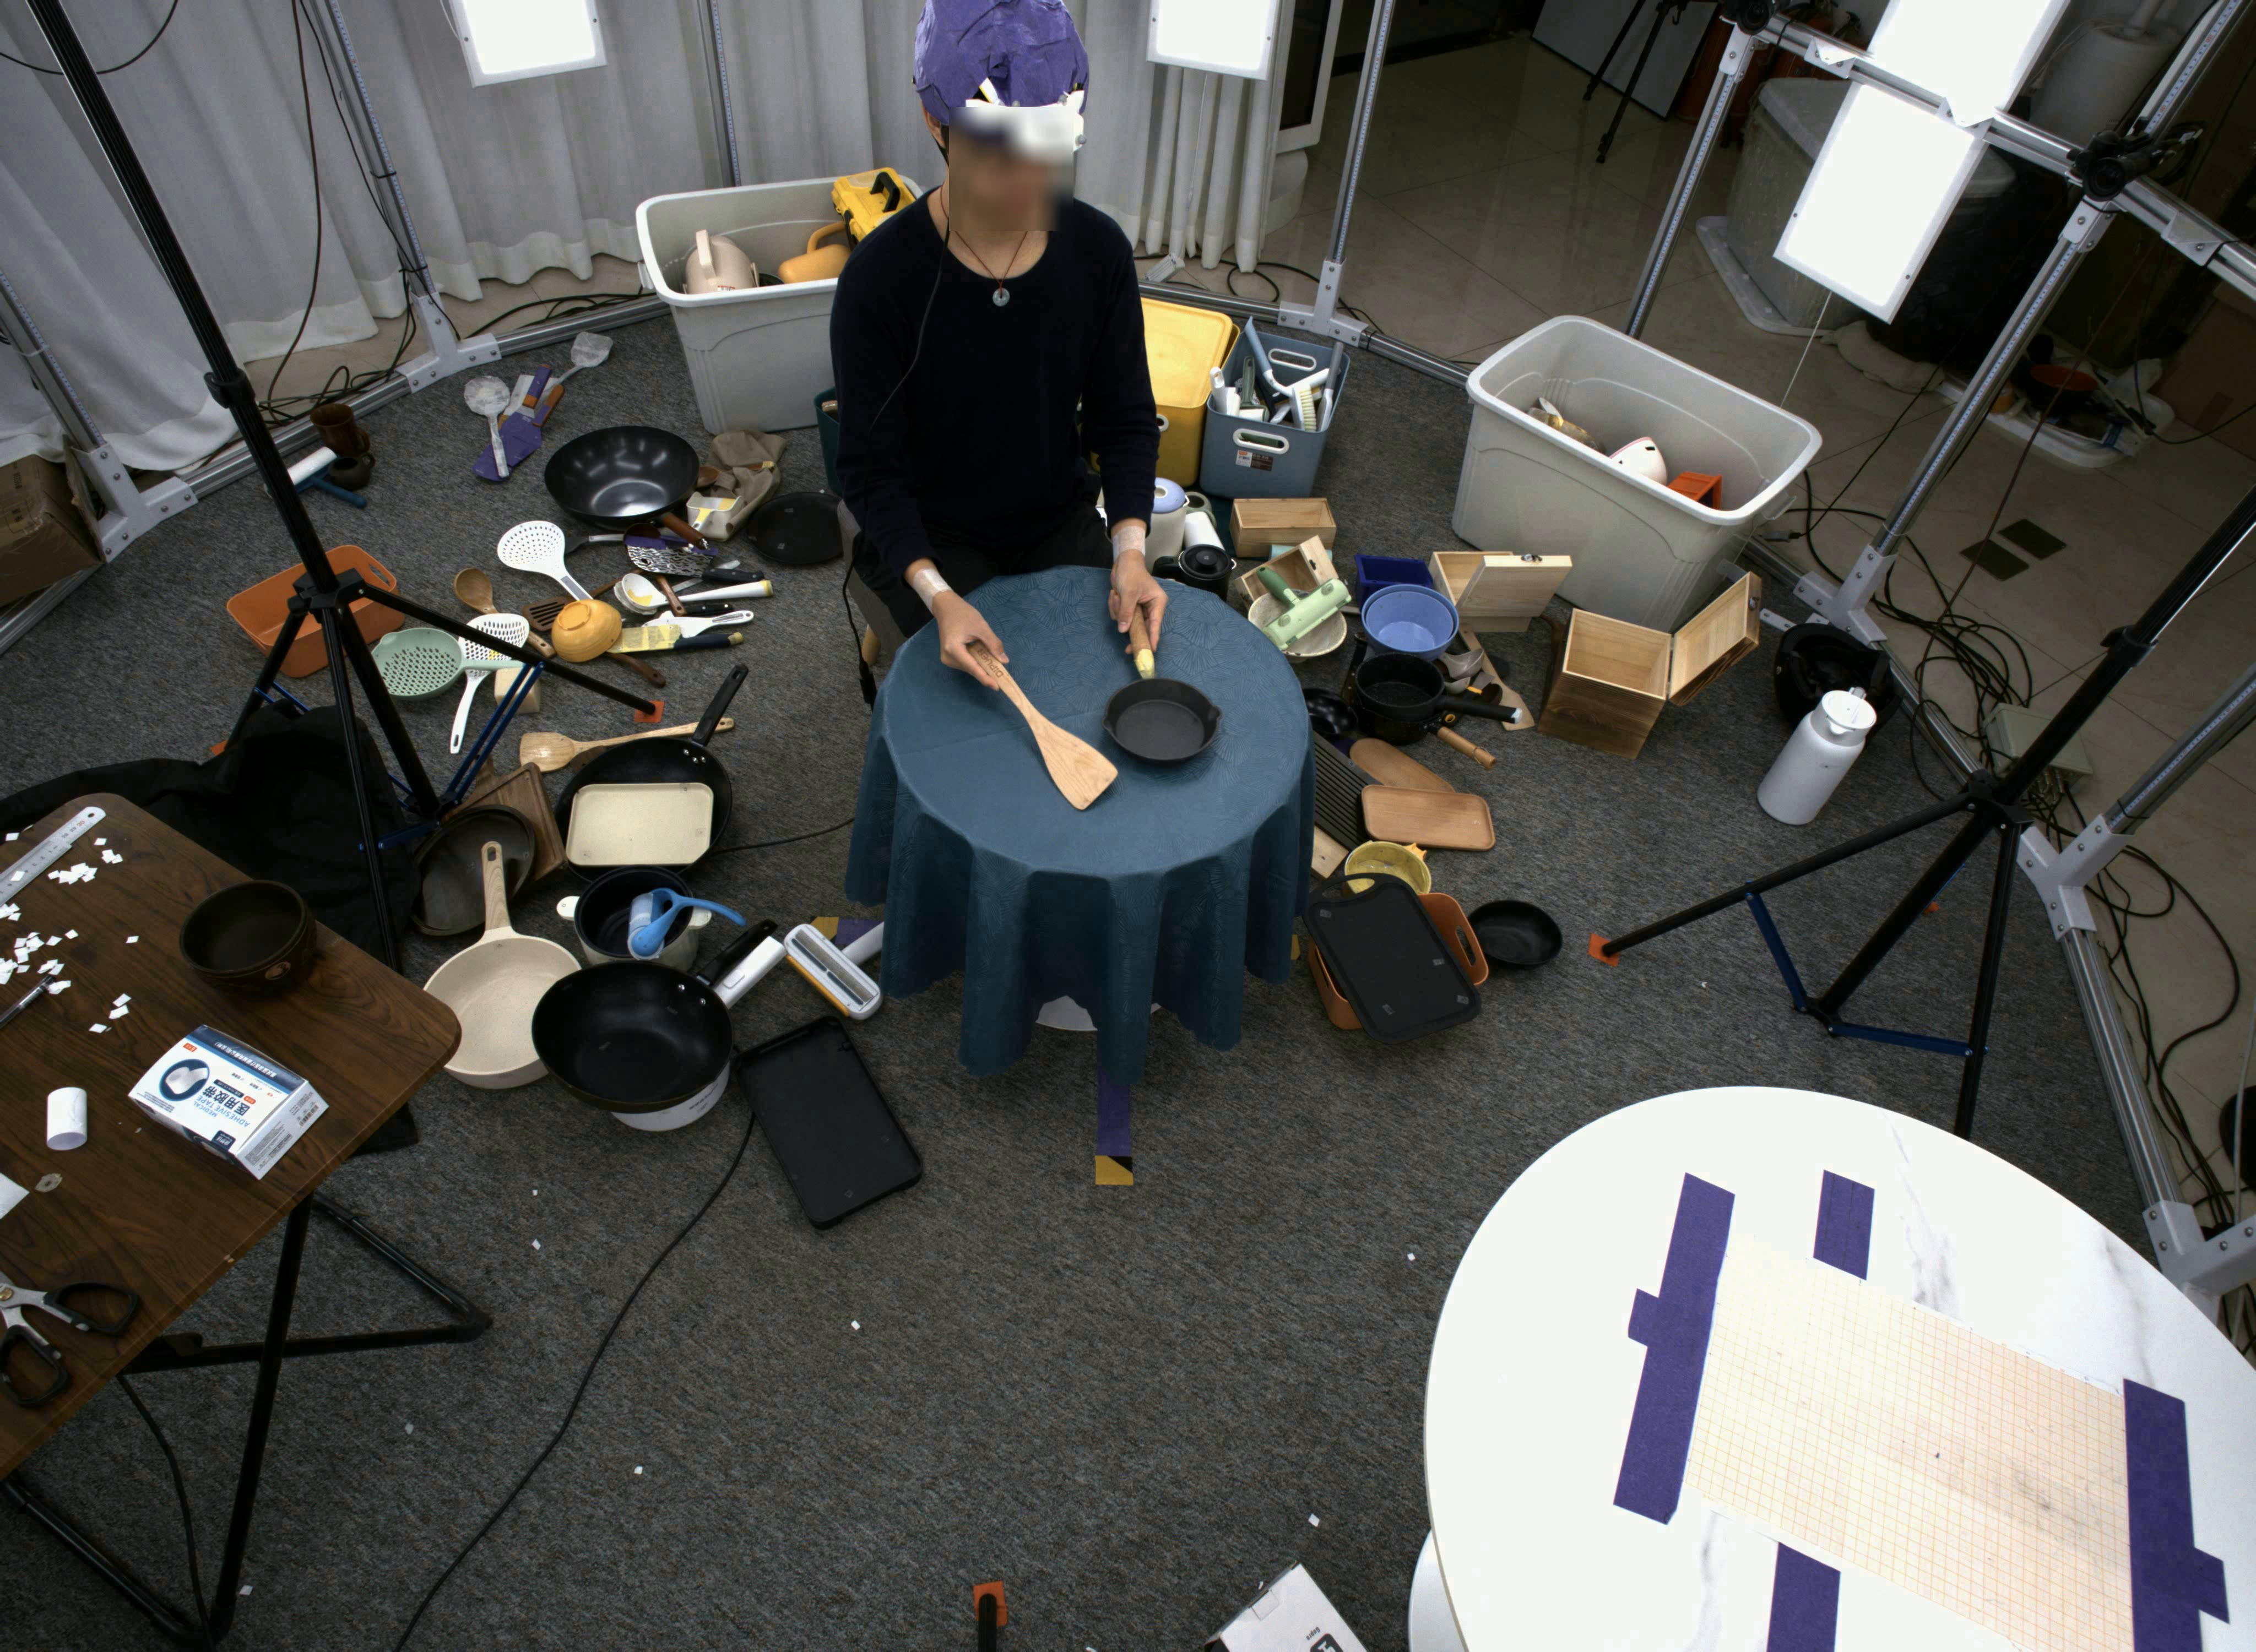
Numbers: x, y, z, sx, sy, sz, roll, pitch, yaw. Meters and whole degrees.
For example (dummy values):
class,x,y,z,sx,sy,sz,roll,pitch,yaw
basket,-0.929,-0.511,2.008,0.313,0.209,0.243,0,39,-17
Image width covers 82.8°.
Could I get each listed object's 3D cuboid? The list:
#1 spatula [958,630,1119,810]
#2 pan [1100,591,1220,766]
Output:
class,x,y,z,sx,sy,sz,roll,pitch,yaw
spatula,-0.131,-0.156,1.747,0.080,0.016,0.332,-37,69,-9
pan,0.031,-0.211,1.821,0.169,0.048,0.332,-5,51,-8
